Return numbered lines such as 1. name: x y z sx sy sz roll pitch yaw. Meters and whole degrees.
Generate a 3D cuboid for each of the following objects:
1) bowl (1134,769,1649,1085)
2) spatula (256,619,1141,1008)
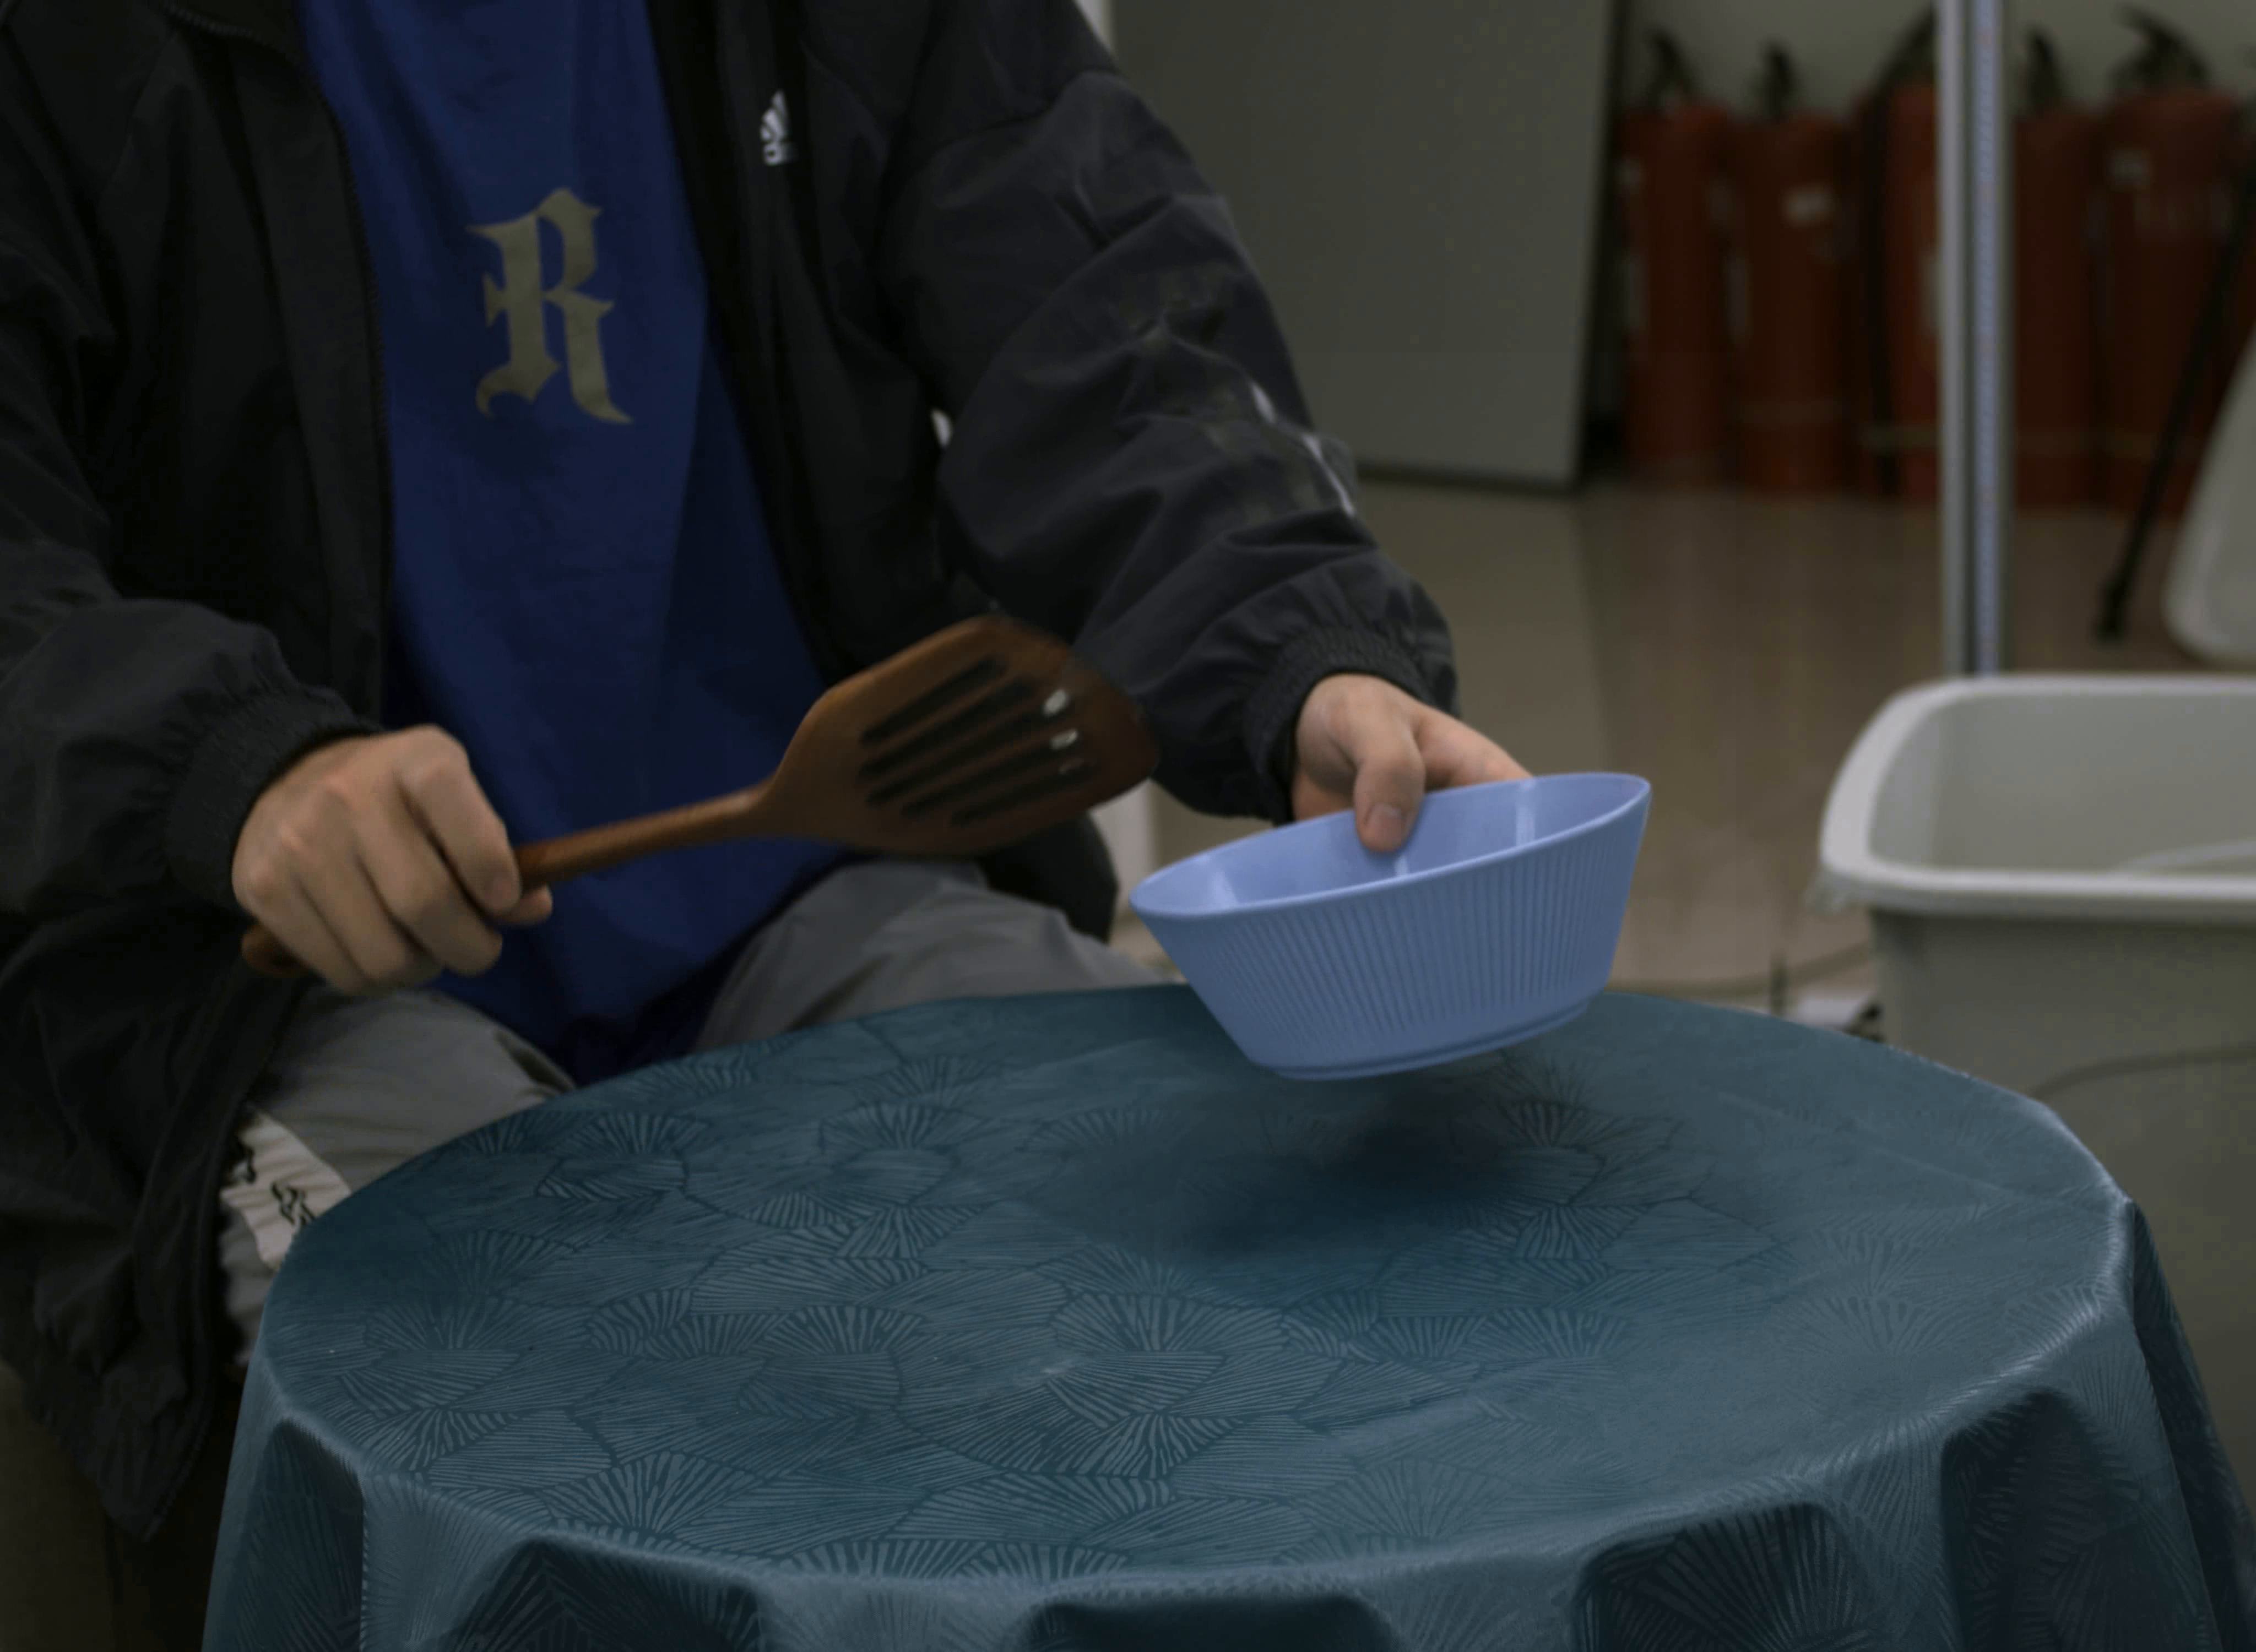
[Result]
1. bowl: 0.093 0.036 1.759 0.174 0.071 0.176 -14 5 0
2. spatula: -0.153 0.010 1.705 0.390 0.084 0.024 -18 44 42
